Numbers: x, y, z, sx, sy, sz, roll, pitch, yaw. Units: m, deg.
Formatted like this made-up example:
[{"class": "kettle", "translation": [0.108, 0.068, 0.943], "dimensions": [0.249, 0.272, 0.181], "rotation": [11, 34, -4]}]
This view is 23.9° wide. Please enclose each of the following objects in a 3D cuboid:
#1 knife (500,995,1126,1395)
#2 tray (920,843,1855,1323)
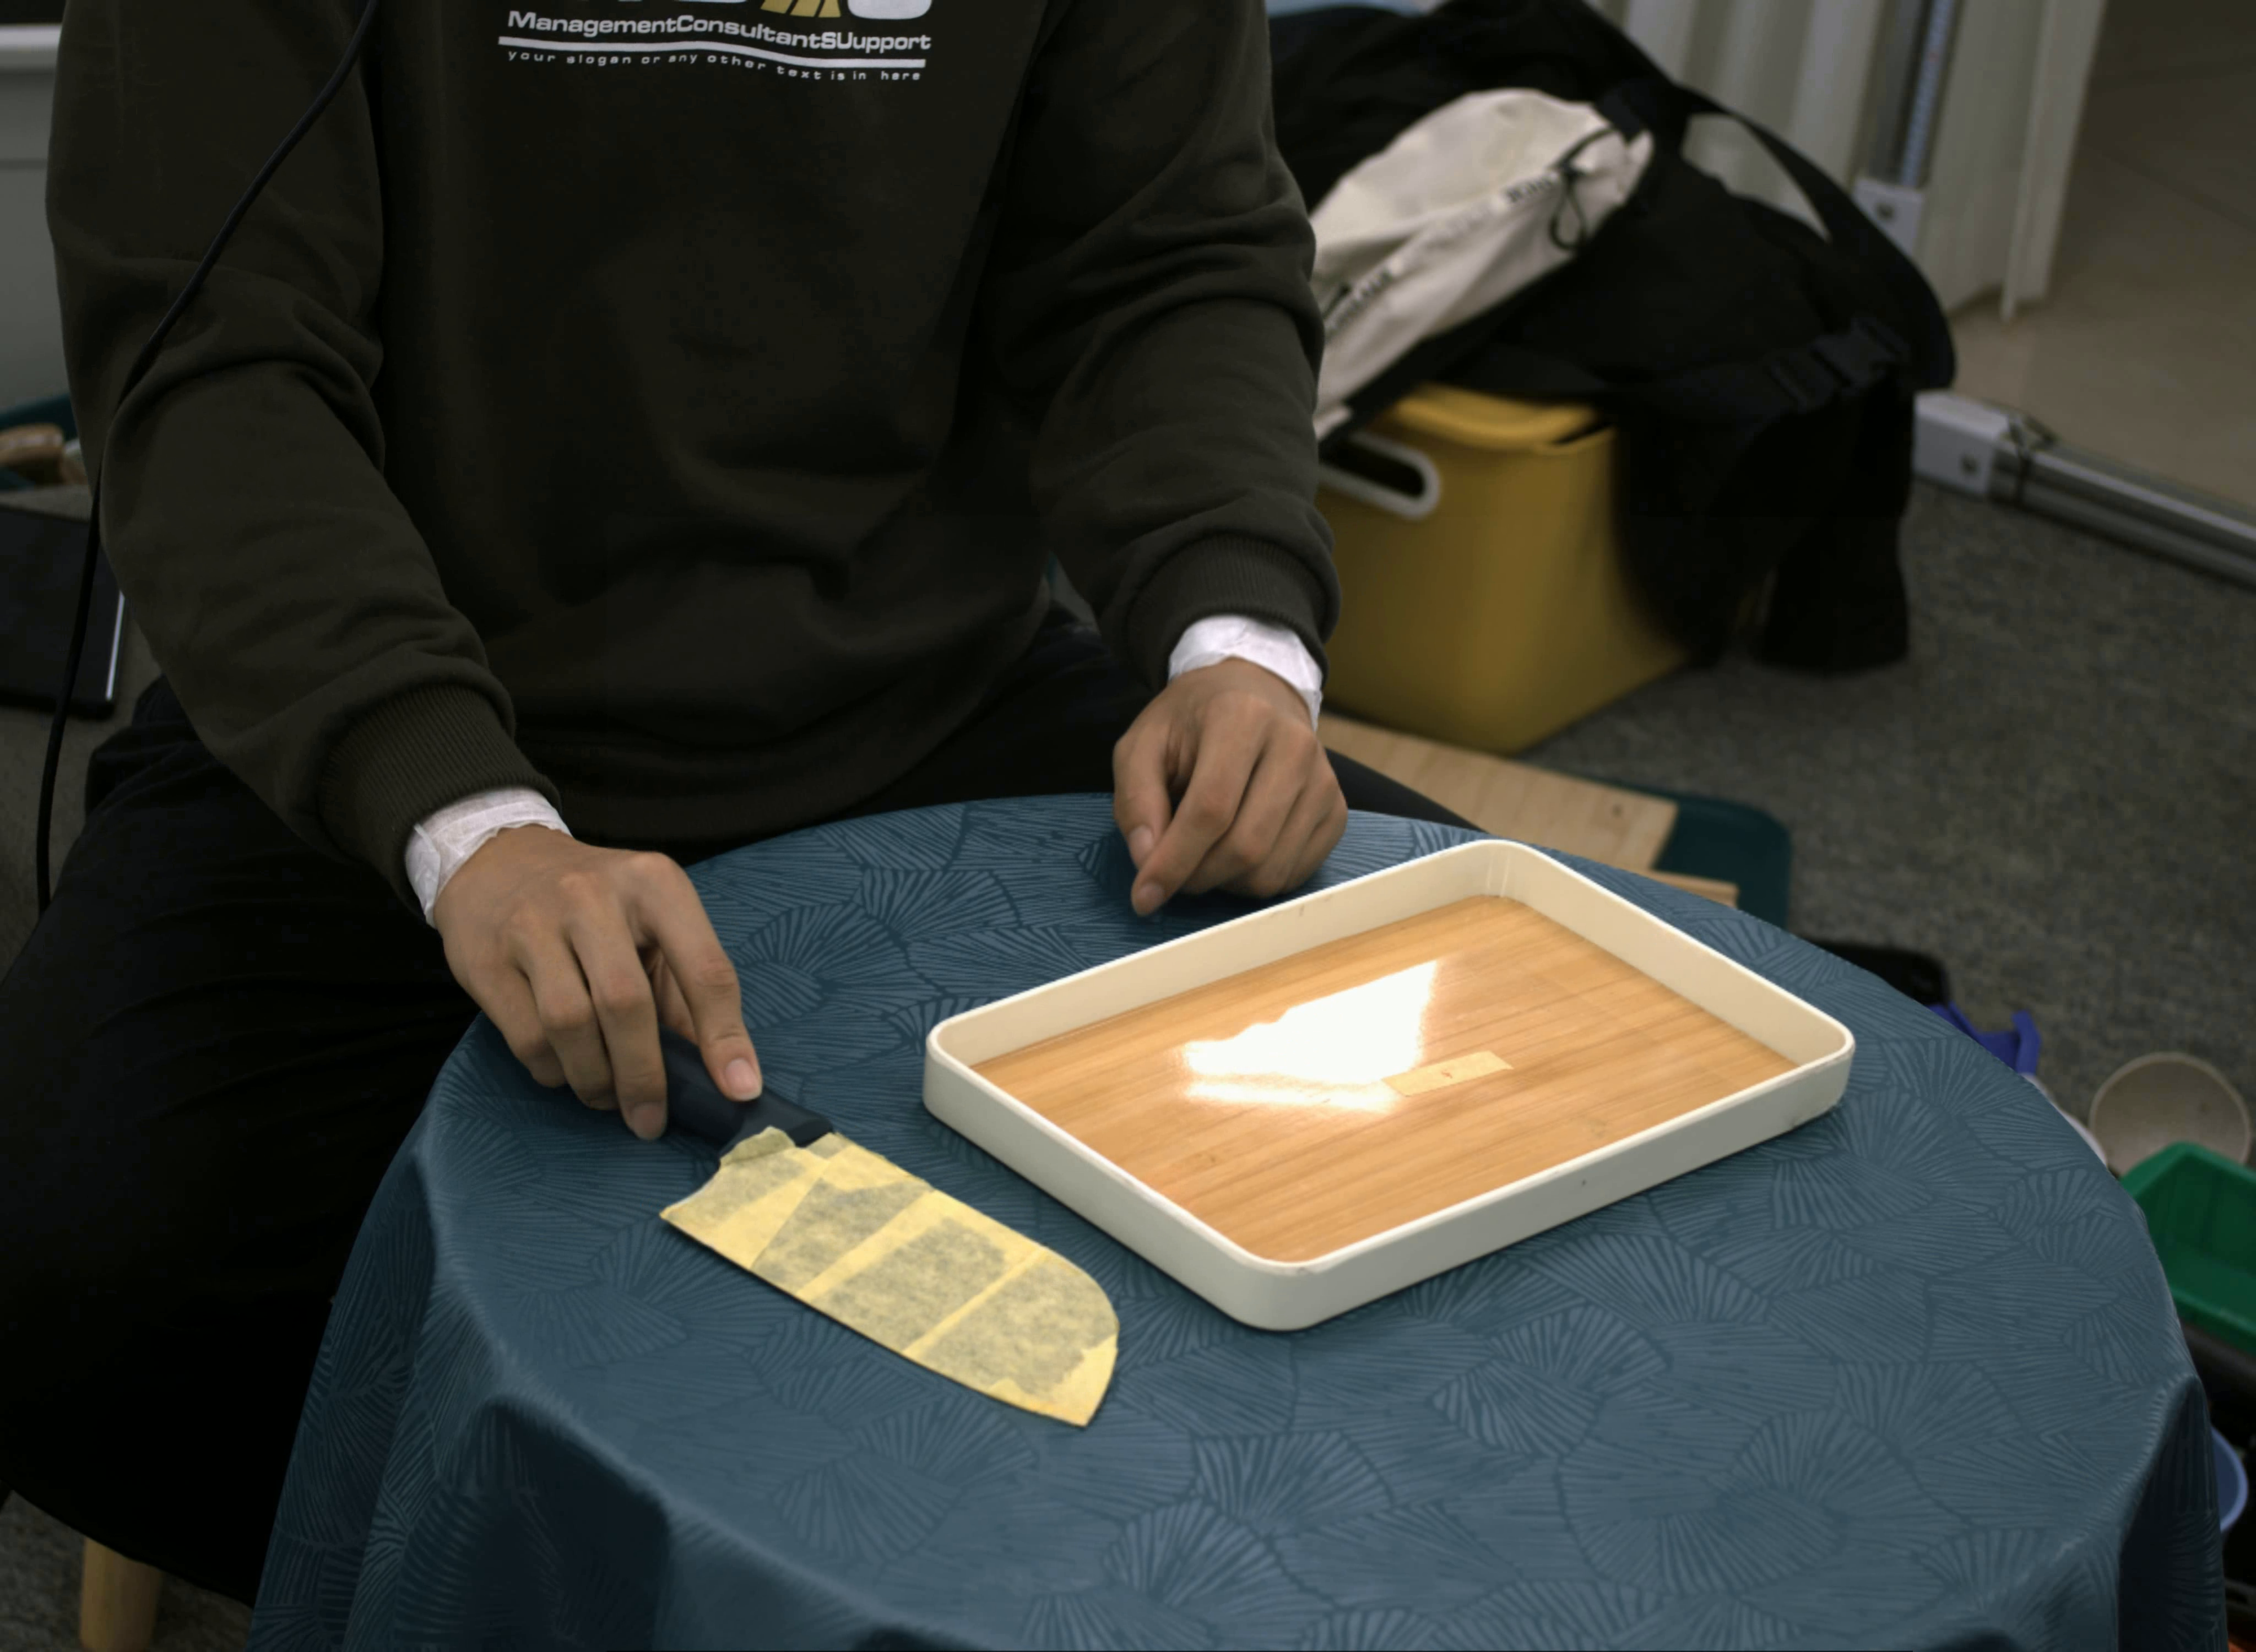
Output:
[{"class": "knife", "translation": [-0.113, 0.123, 1.764], "dimensions": [0.291, 0.027, 0.081], "rotation": [27, 38, 34]}, {"class": "tray", "translation": [0.093, 0.085, 1.873], "dimensions": [0.298, 0.027, 0.193], "rotation": [-17, 34, -39]}]
